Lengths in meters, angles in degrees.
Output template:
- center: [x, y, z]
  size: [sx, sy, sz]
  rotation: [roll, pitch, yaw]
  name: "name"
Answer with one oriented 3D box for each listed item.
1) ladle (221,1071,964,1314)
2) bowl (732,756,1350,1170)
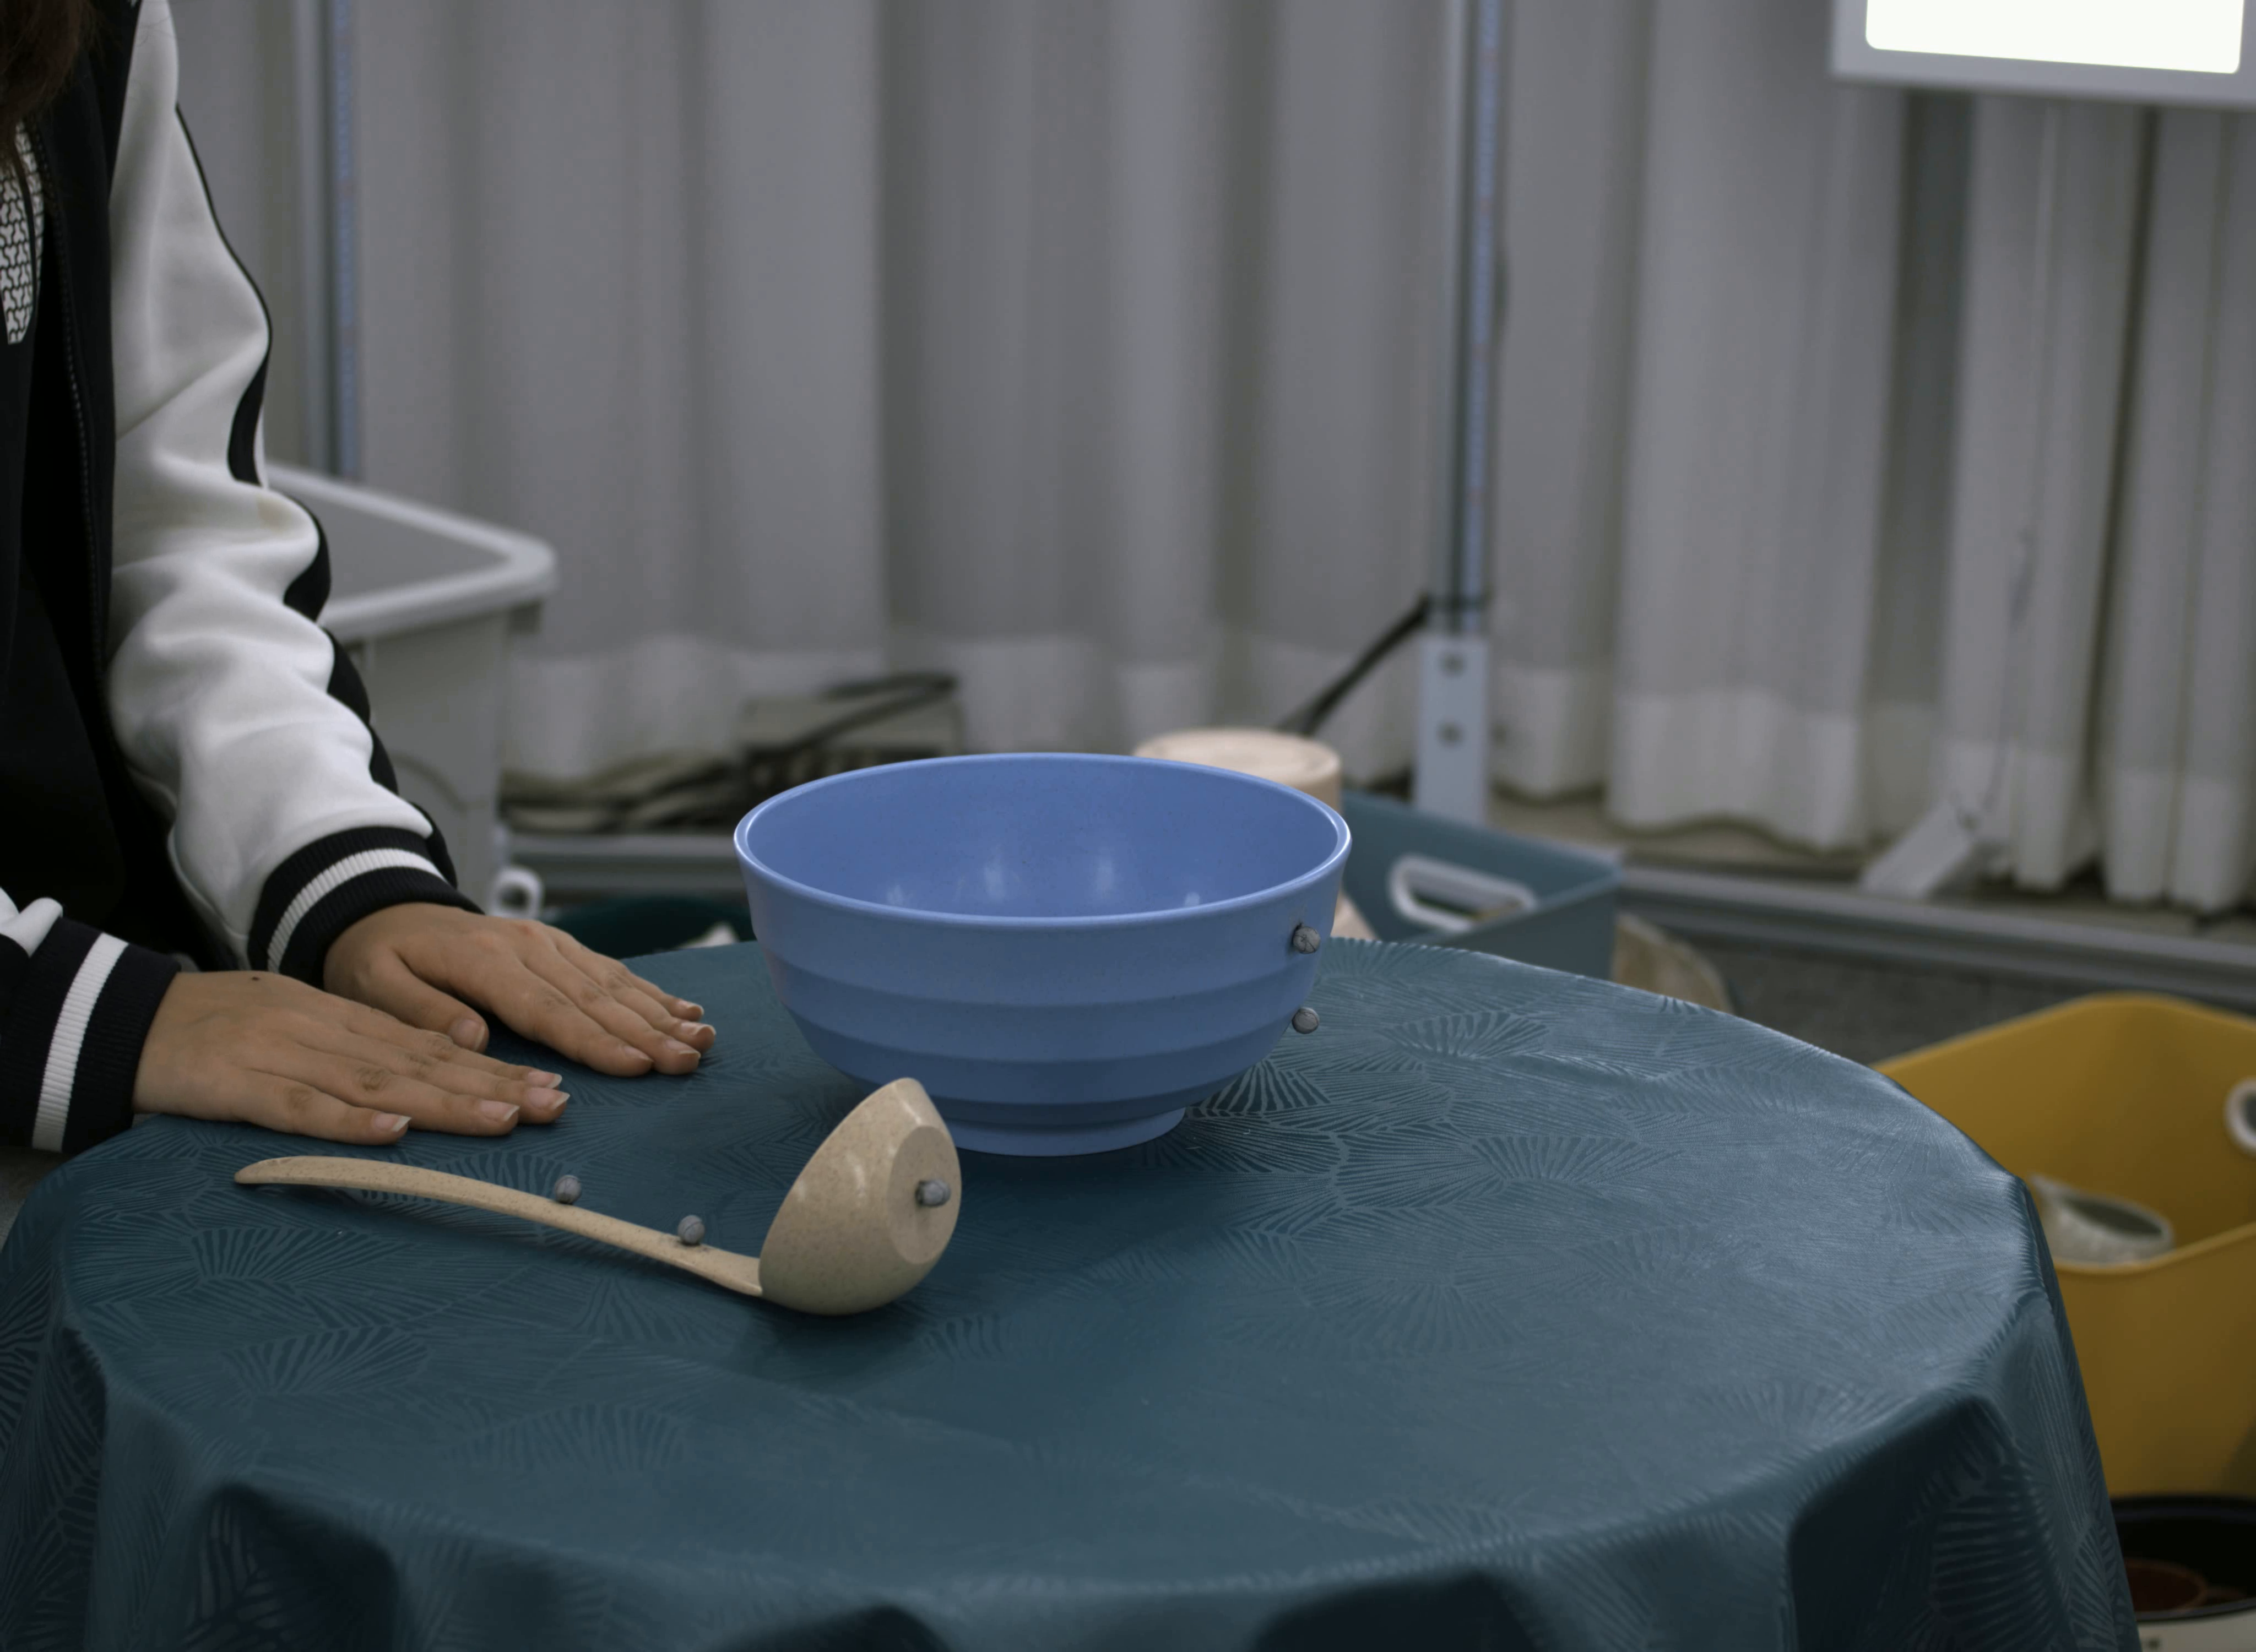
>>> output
- center: [-0.166, 0.092, 1.553]
  size: [0.251, 0.073, 0.072]
  rotation: [8, 17, 27]
  name: "ladle"
- center: [-0.026, 0.050, 1.682]
  size: [0.196, 0.096, 0.195]
  rotation: [-1, 17, 1]
  name: "bowl"
